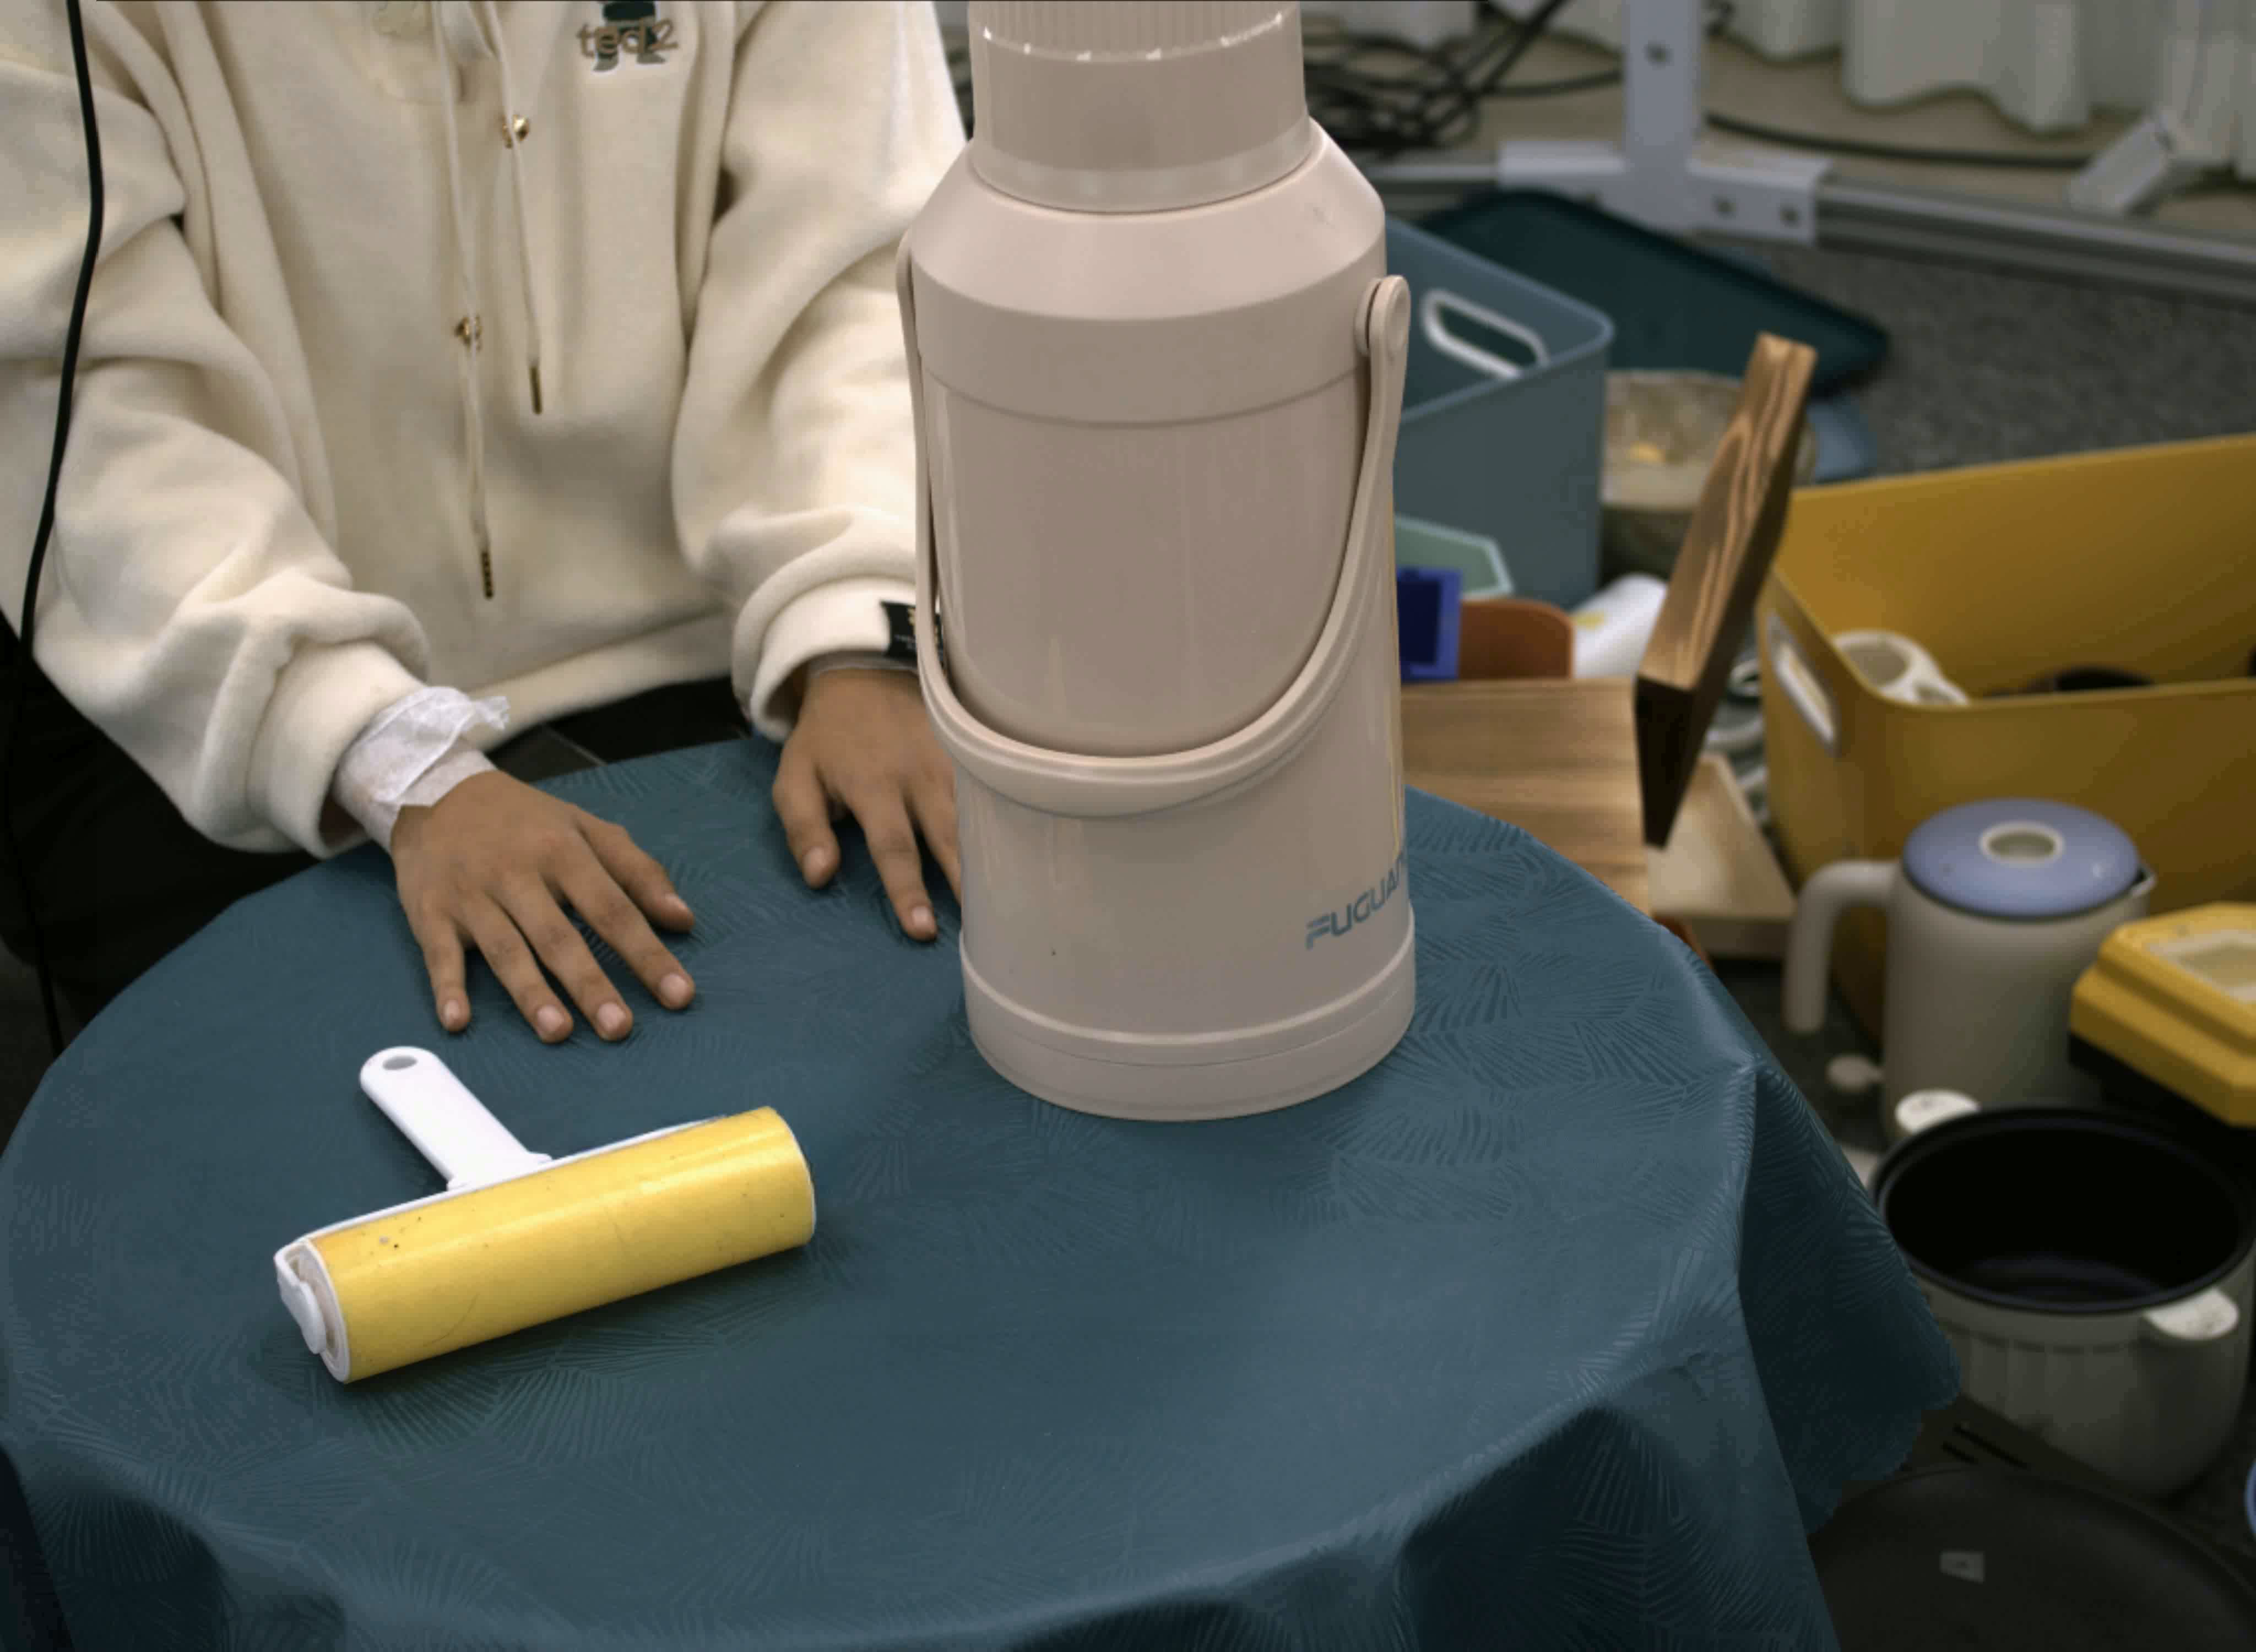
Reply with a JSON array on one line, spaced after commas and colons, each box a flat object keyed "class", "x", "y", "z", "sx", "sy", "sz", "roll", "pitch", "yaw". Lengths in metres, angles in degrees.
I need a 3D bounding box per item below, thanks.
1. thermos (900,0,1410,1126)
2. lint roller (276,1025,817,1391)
[{"class": "thermos", "x": 0.018, "y": -0.116, "z": 1.894, "sx": 0.174, "sy": 0.402, "sz": 0.210, "roll": 7, "pitch": 28, "yaw": 22}, {"class": "lint roller", "x": -0.216, "y": 0.104, "z": 1.858, "sx": 0.175, "sy": 0.051, "sz": 0.193, "roll": -15, "pitch": 37, "yaw": -23}]
